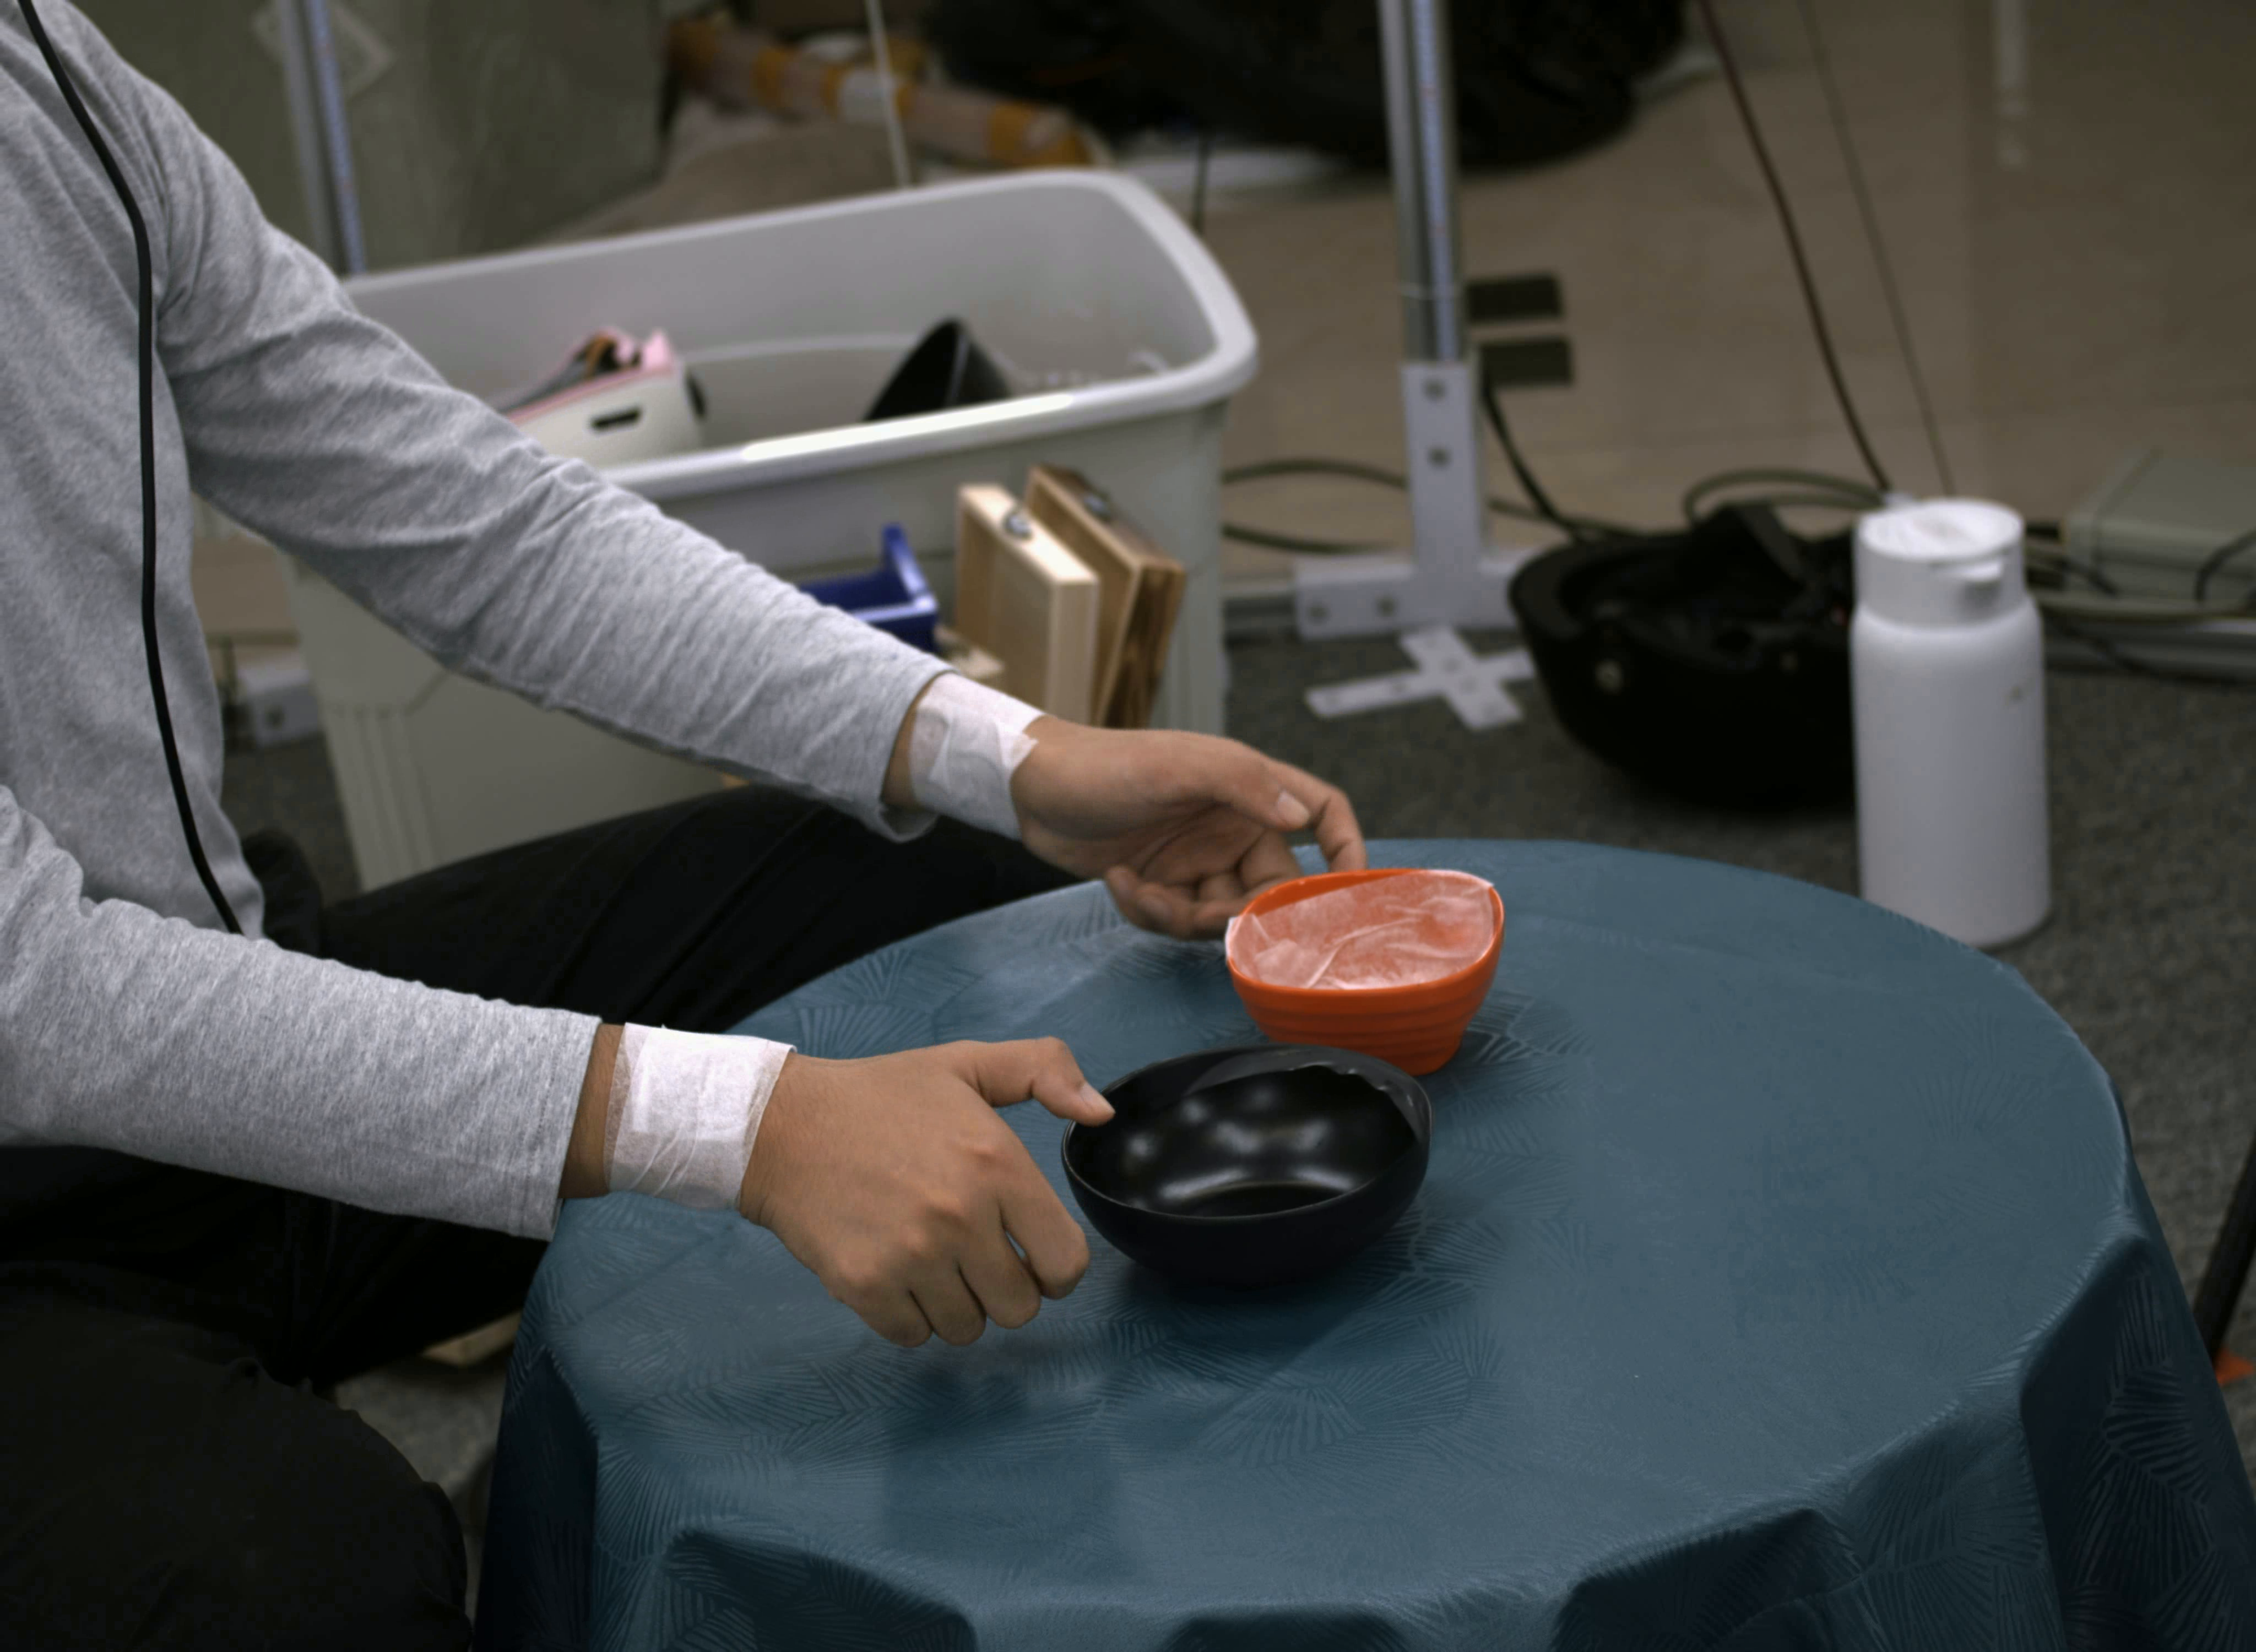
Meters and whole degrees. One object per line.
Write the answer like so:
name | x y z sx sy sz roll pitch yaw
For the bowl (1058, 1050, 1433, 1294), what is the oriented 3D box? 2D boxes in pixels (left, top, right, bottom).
bowl | 0.046 0.135 2.095 0.140 0.050 0.138 -8 23 3

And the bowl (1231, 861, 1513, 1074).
bowl | 0.097 0.060 2.233 0.119 0.052 0.117 -4 27 2
